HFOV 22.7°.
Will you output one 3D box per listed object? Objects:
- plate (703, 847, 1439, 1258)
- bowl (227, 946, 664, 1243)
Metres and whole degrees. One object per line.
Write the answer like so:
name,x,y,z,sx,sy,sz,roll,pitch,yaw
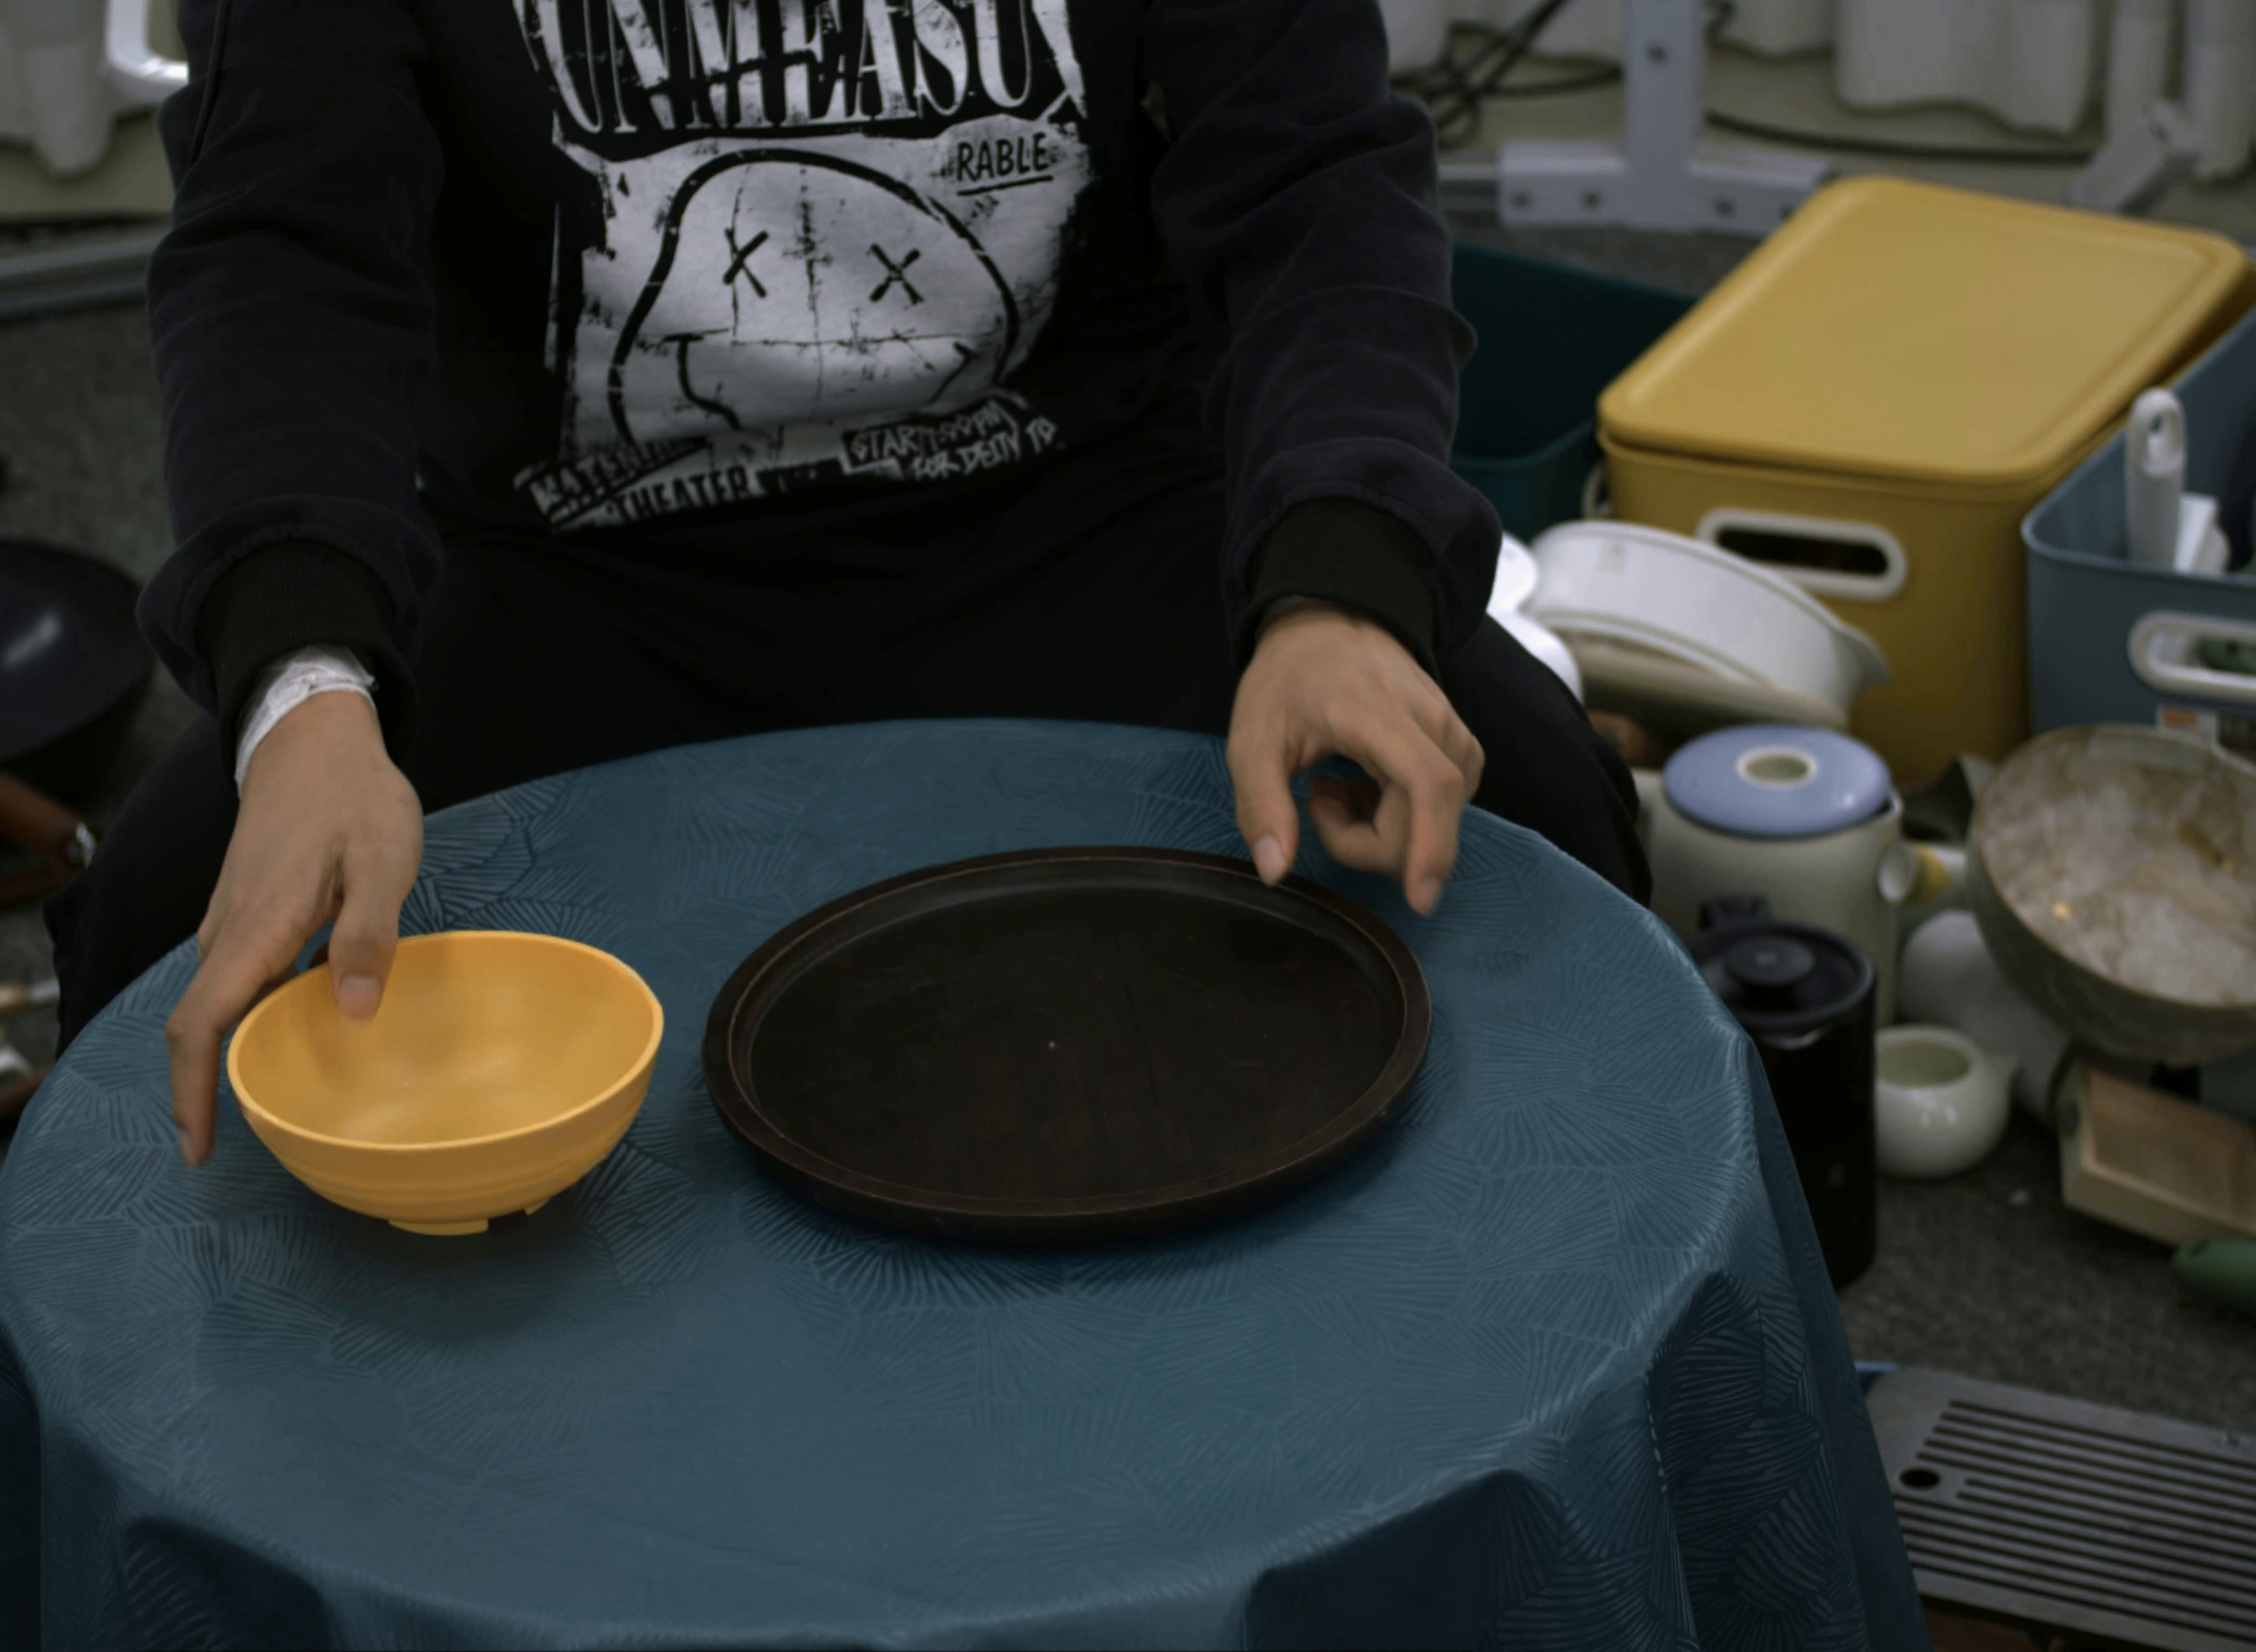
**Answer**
plate,-0.019,0.076,1.927,0.253,0.029,0.258,-4,27,2
bowl,-0.225,0.098,1.870,0.144,0.059,0.147,-1,25,1
